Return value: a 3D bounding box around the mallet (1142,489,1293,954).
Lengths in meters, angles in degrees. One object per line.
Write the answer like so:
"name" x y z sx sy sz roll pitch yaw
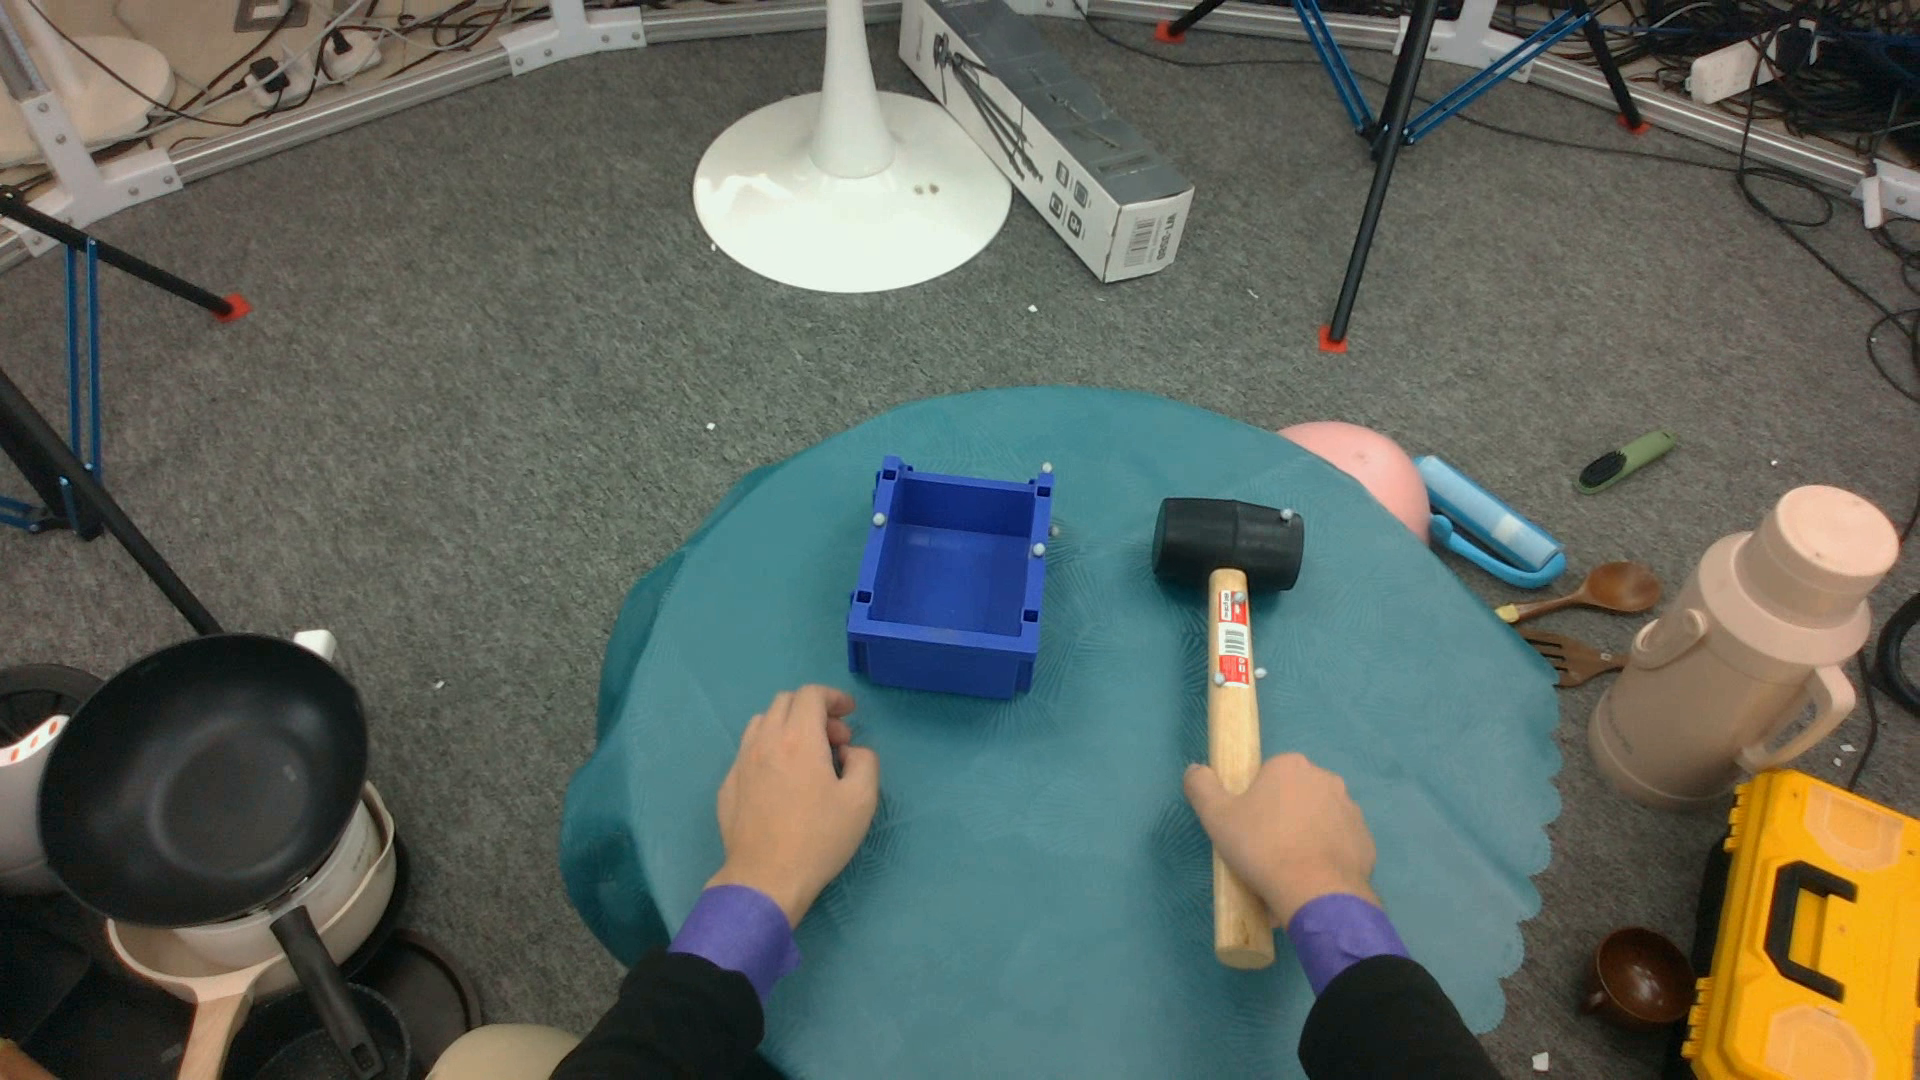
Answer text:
"mallet" 0.169 0.094 0.875 0.102 0.064 0.340 5 46 3

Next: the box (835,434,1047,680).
"box" -0.011 0.004 0.944 0.124 0.081 0.180 7 55 3
